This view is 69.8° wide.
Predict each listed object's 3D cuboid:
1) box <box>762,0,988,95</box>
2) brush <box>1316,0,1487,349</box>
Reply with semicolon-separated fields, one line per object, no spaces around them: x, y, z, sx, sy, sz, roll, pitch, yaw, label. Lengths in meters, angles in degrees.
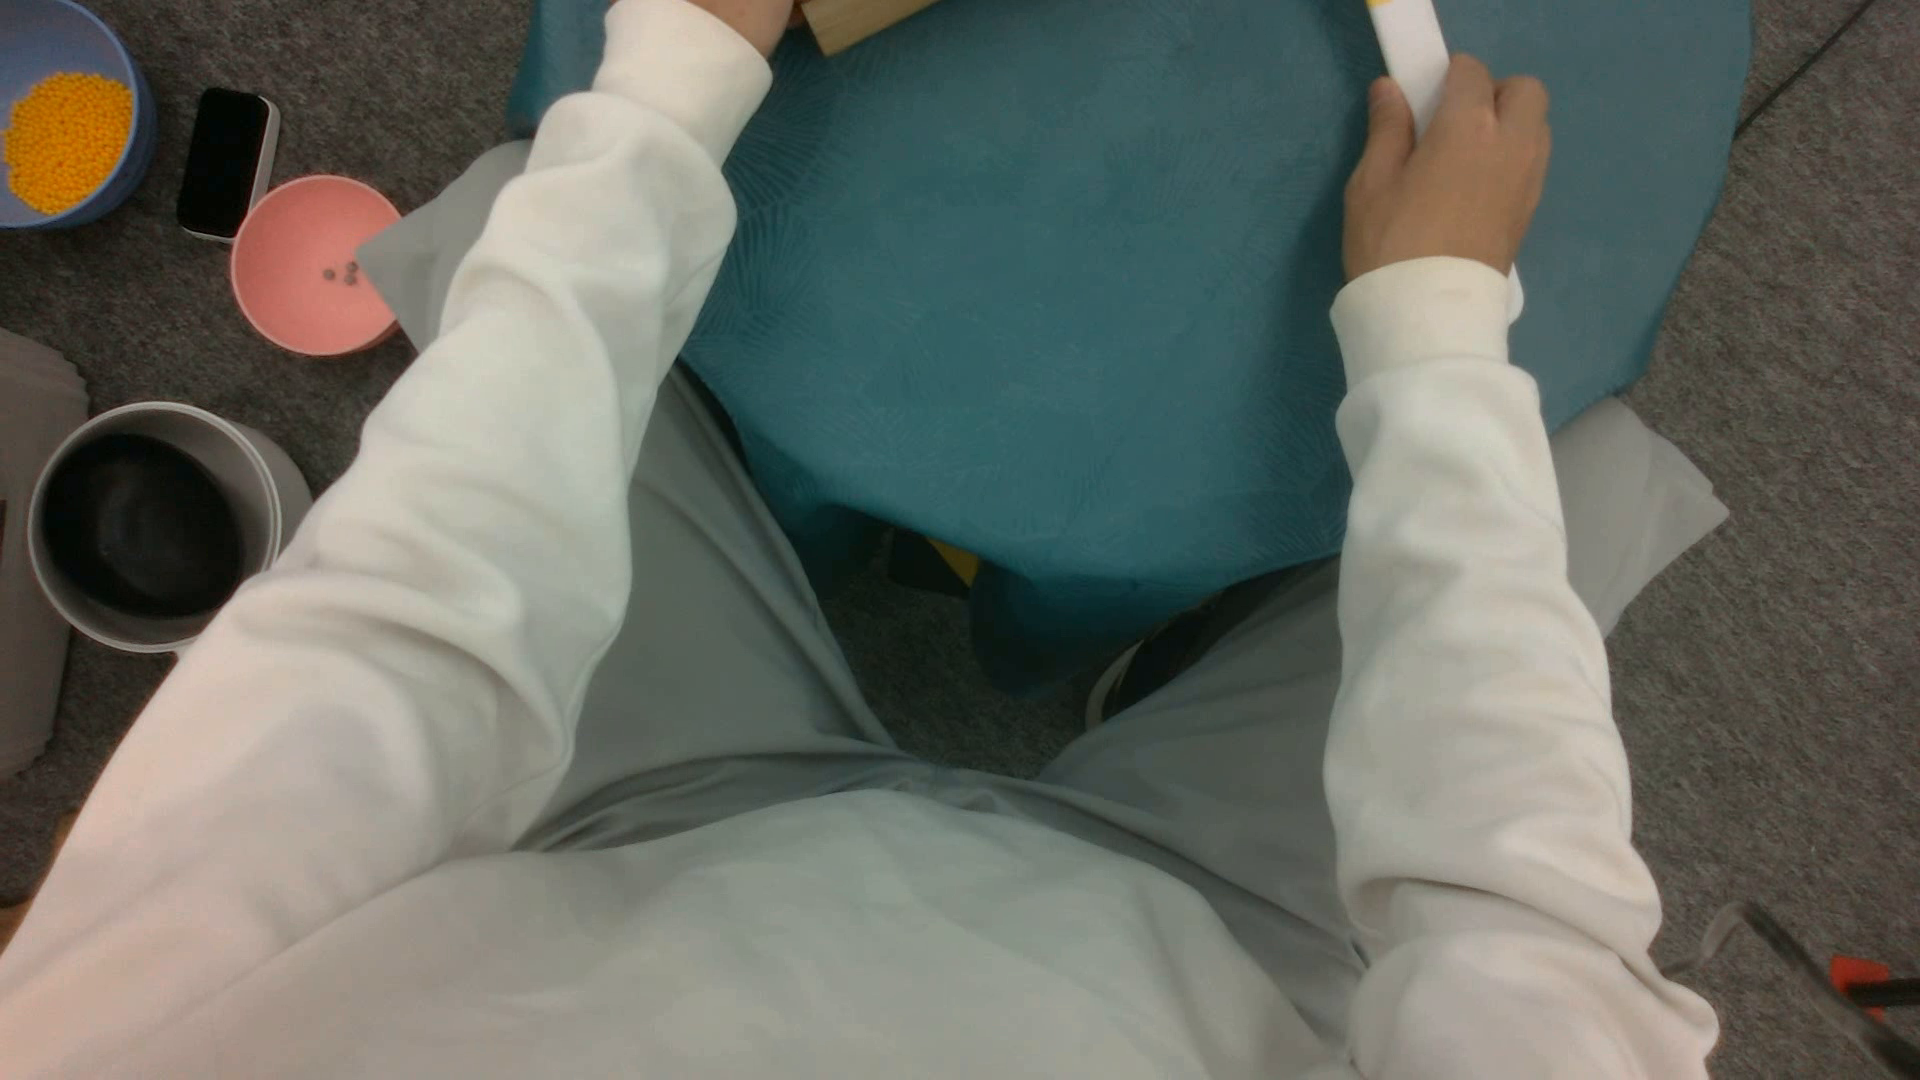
-0.006;-0.315;0.645;0.211;0.080;0.107;-28;92;4;box
0.204;-0.223;0.684;0.068;0.056;0.266;-21;103;4;brush
